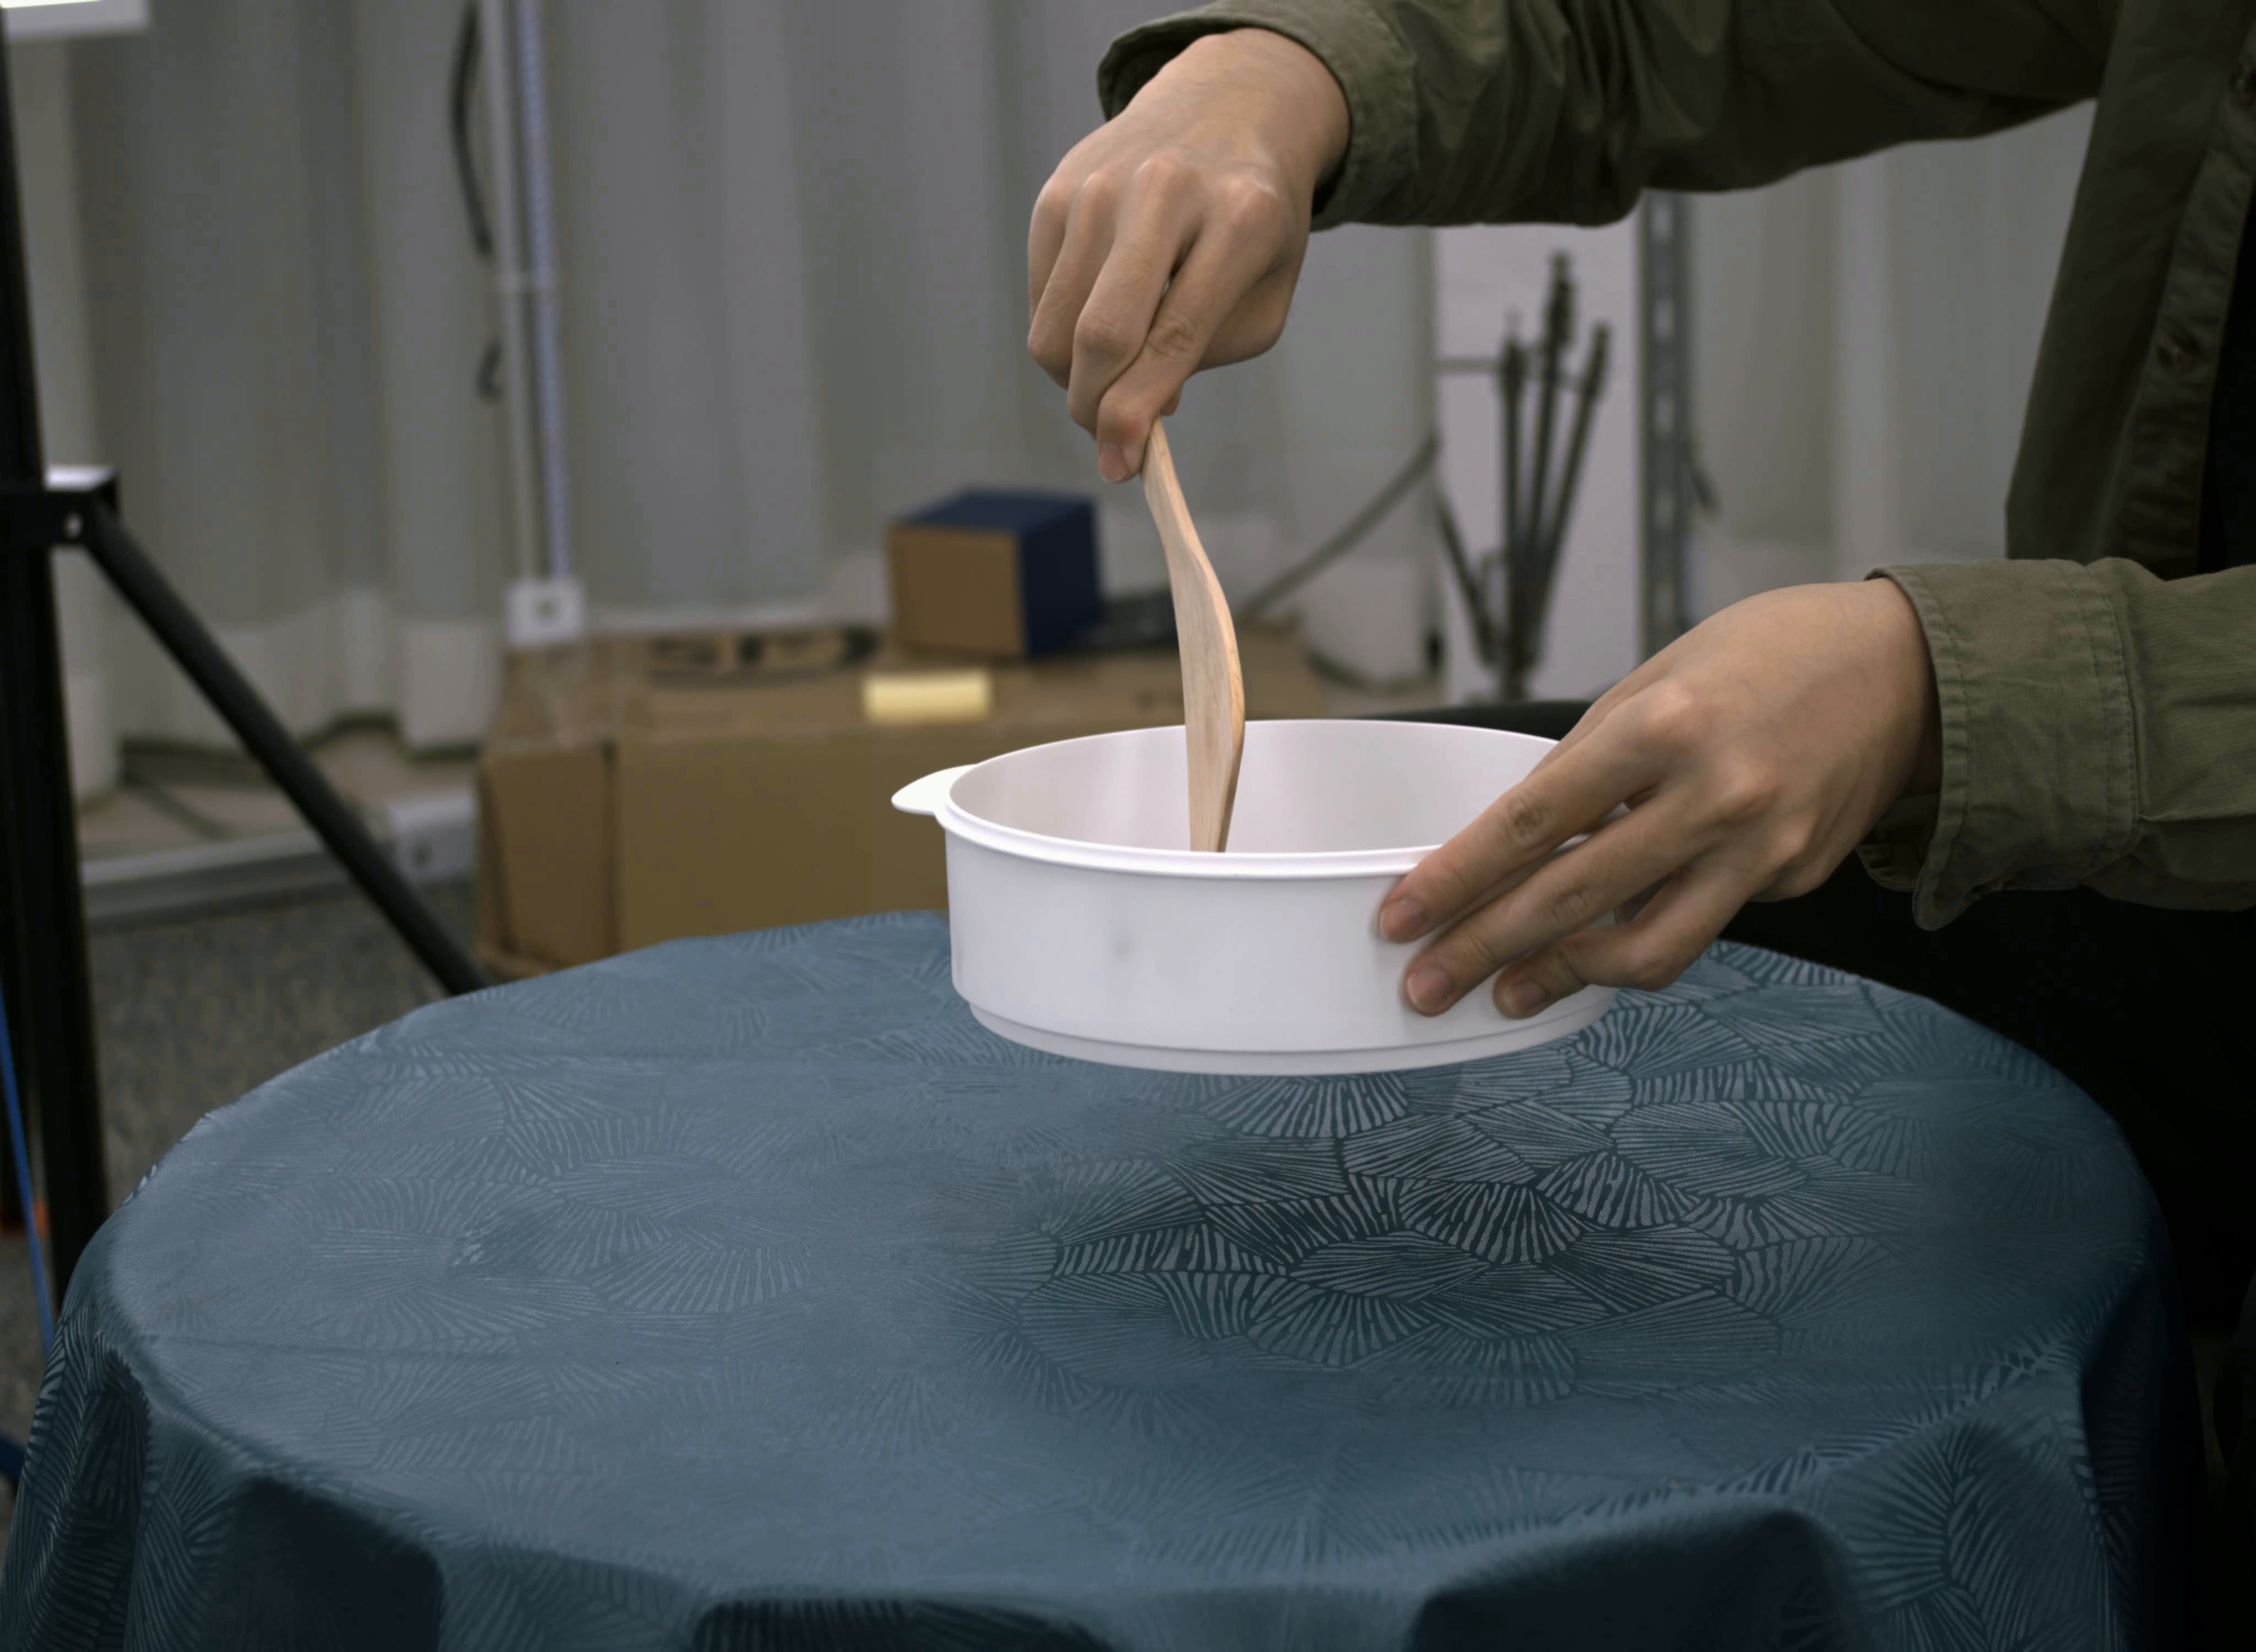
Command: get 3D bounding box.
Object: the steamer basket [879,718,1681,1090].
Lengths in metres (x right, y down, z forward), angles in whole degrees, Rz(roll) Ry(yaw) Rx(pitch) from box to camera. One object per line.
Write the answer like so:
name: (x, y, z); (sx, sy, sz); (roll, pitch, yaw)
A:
steamer basket: (0.042, 0.022, 1.513); (0.233, 0.069, 0.199); (4, 13, 19)

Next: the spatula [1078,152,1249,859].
spatula: (0.008, -0.100, 1.567); (0.016, 0.080, 0.332); (1, 41, -12)
